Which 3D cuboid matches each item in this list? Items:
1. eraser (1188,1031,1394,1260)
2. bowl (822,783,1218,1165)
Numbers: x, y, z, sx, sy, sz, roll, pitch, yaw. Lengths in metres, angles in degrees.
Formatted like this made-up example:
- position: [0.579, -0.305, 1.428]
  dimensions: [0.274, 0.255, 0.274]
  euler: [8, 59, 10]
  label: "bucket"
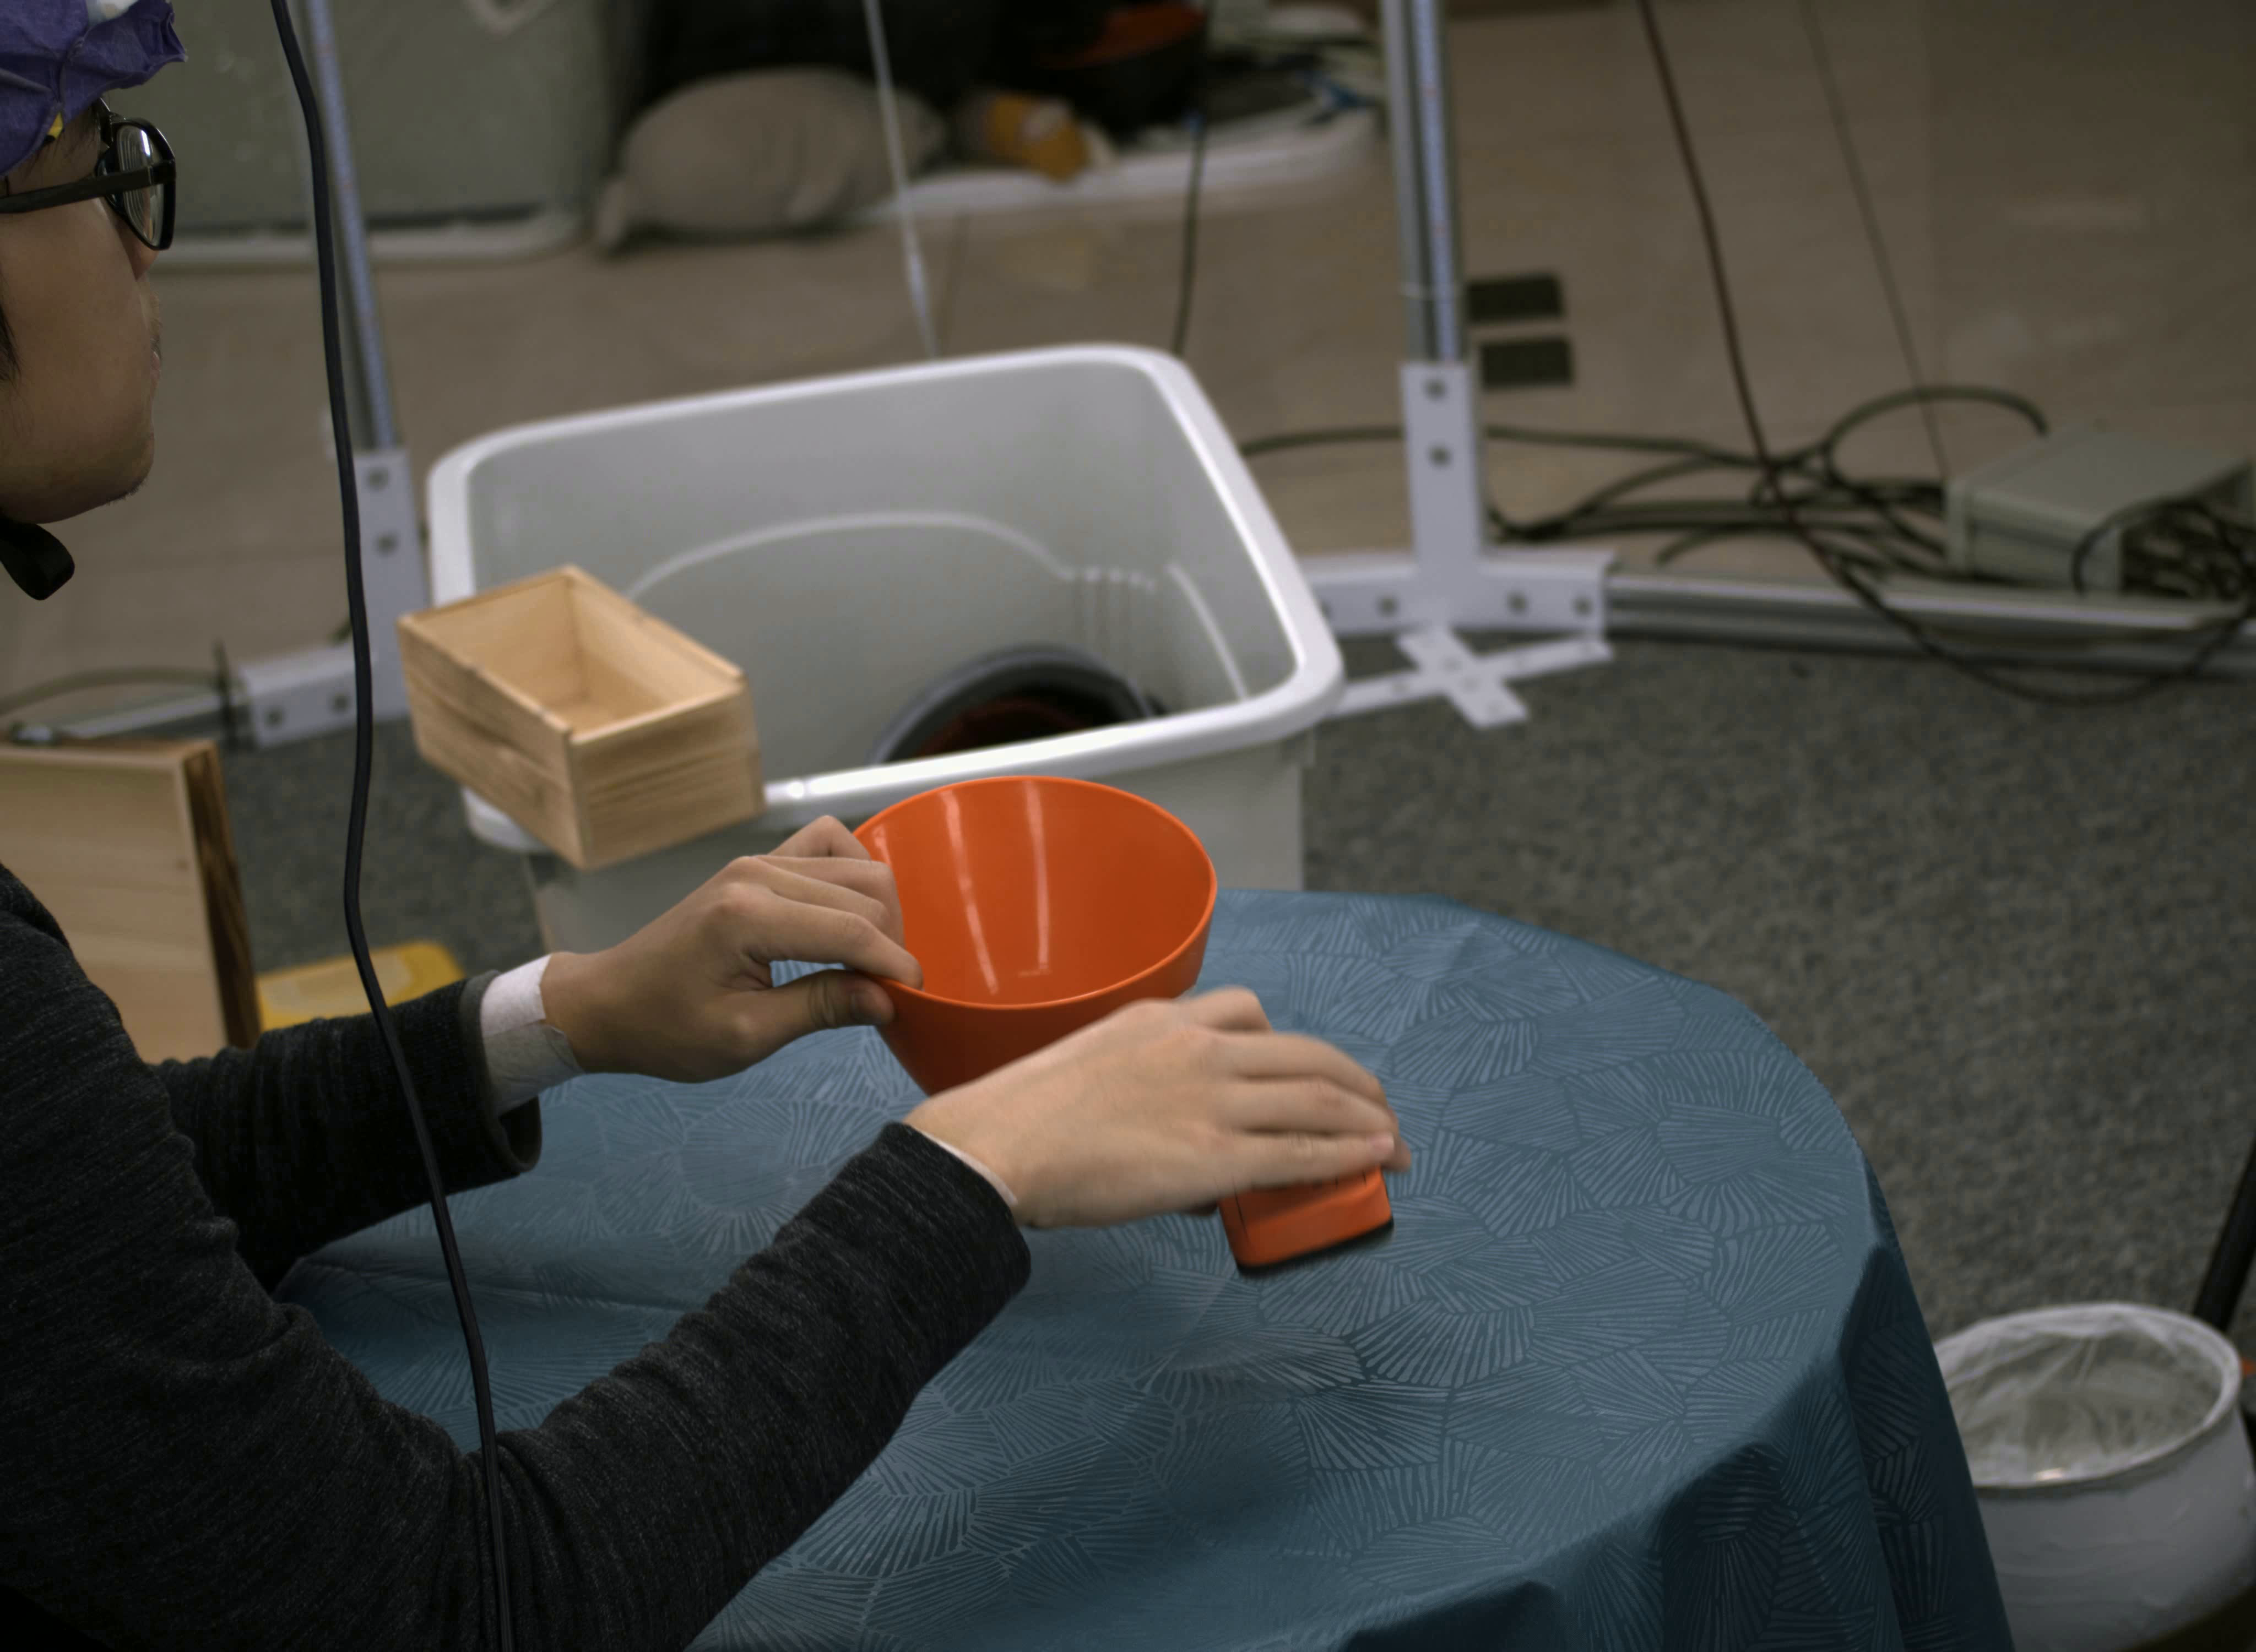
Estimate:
- position: [0.056, 0.110, 1.977]
  dimensions: [0.059, 0.023, 0.106]
  euler: [-16, 27, 0]
  label: "eraser"
- position: [-0.037, 0.061, 2.118]
  dimensions: [0.148, 0.106, 0.146]
  euler: [-3, 25, 2]
  label: "bowl"
